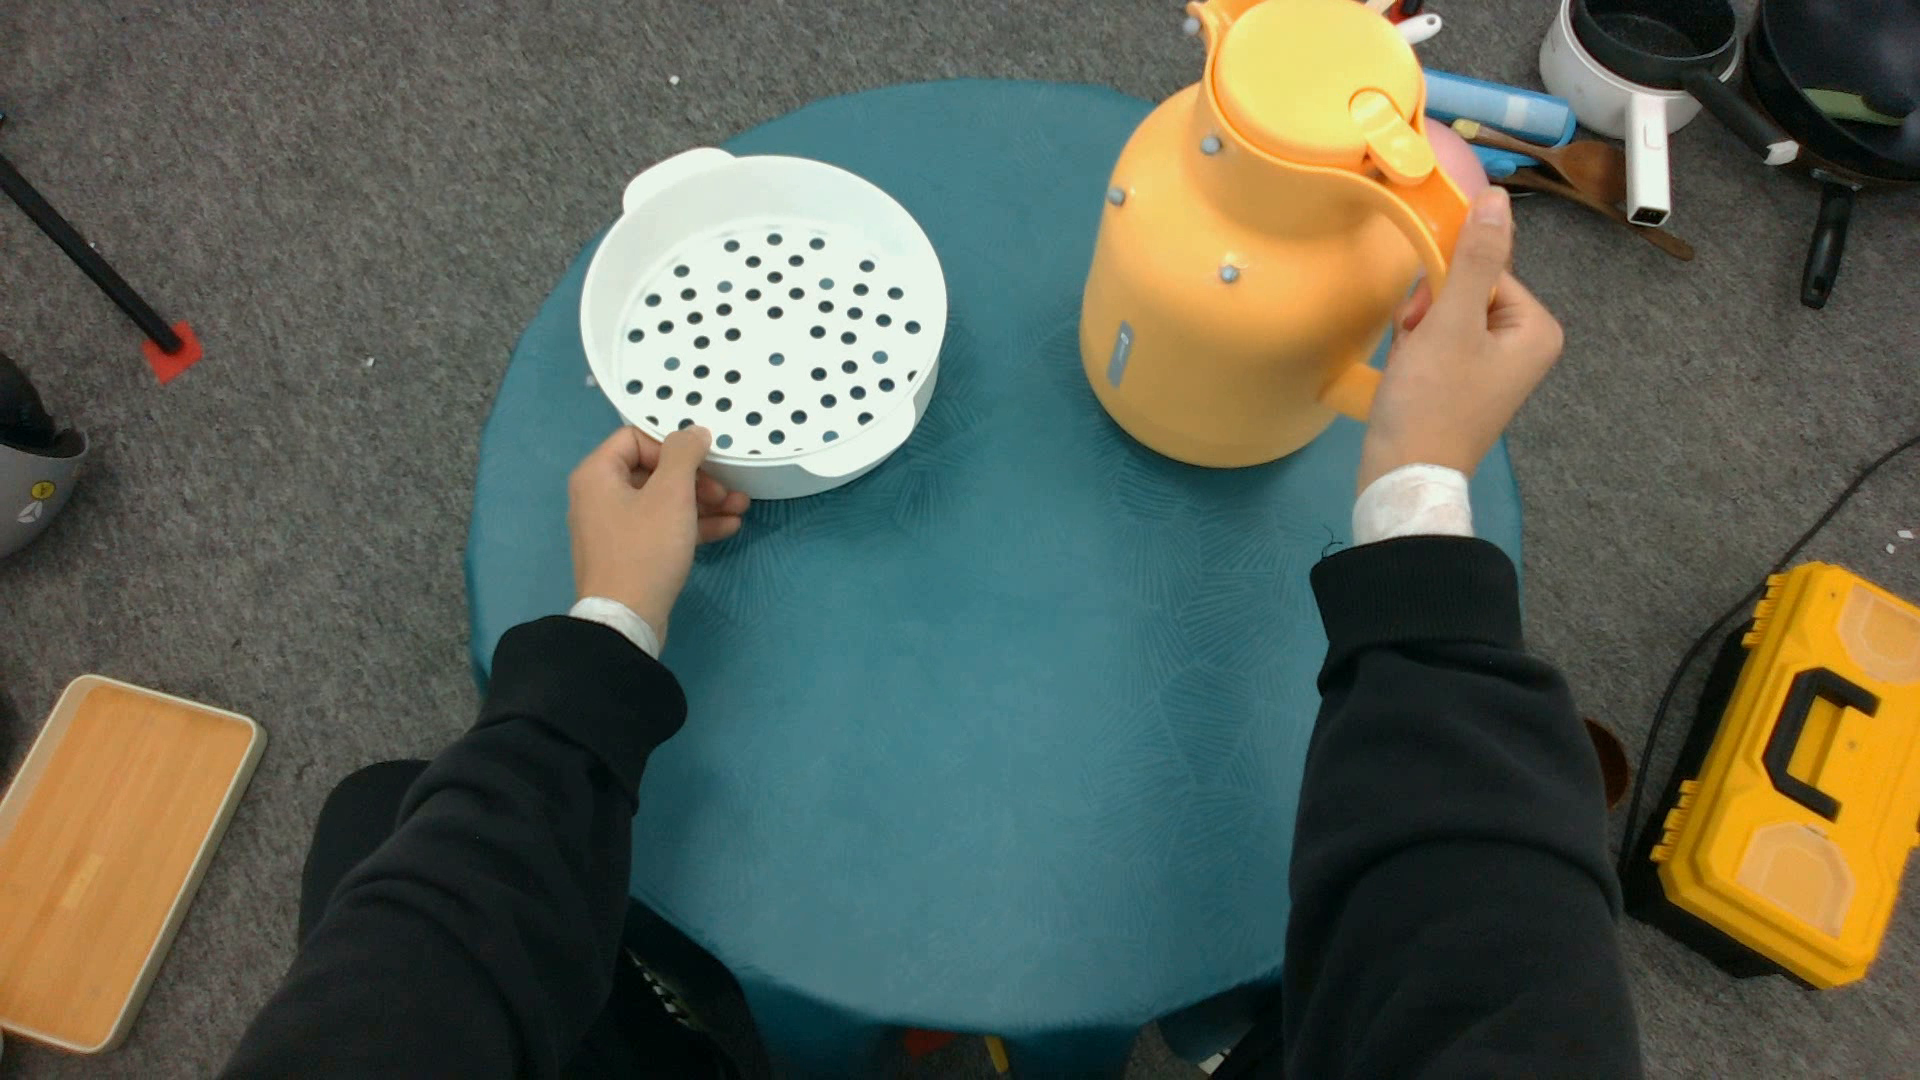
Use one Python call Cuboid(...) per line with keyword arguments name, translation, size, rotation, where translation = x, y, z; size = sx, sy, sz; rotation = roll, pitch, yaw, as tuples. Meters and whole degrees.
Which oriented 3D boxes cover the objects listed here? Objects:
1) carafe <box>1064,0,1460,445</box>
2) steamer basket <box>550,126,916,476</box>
Cuboid(name="carafe", translation=(0.151, -0.153, 0.704), size=(0.164, 0.259, 0.202), rotation=(-32, 70, -12))
Cuboid(name="steamer basket", translation=(-0.127, -0.133, 0.791), size=(0.202, 0.069, 0.231), rotation=(-31, 72, -16))
